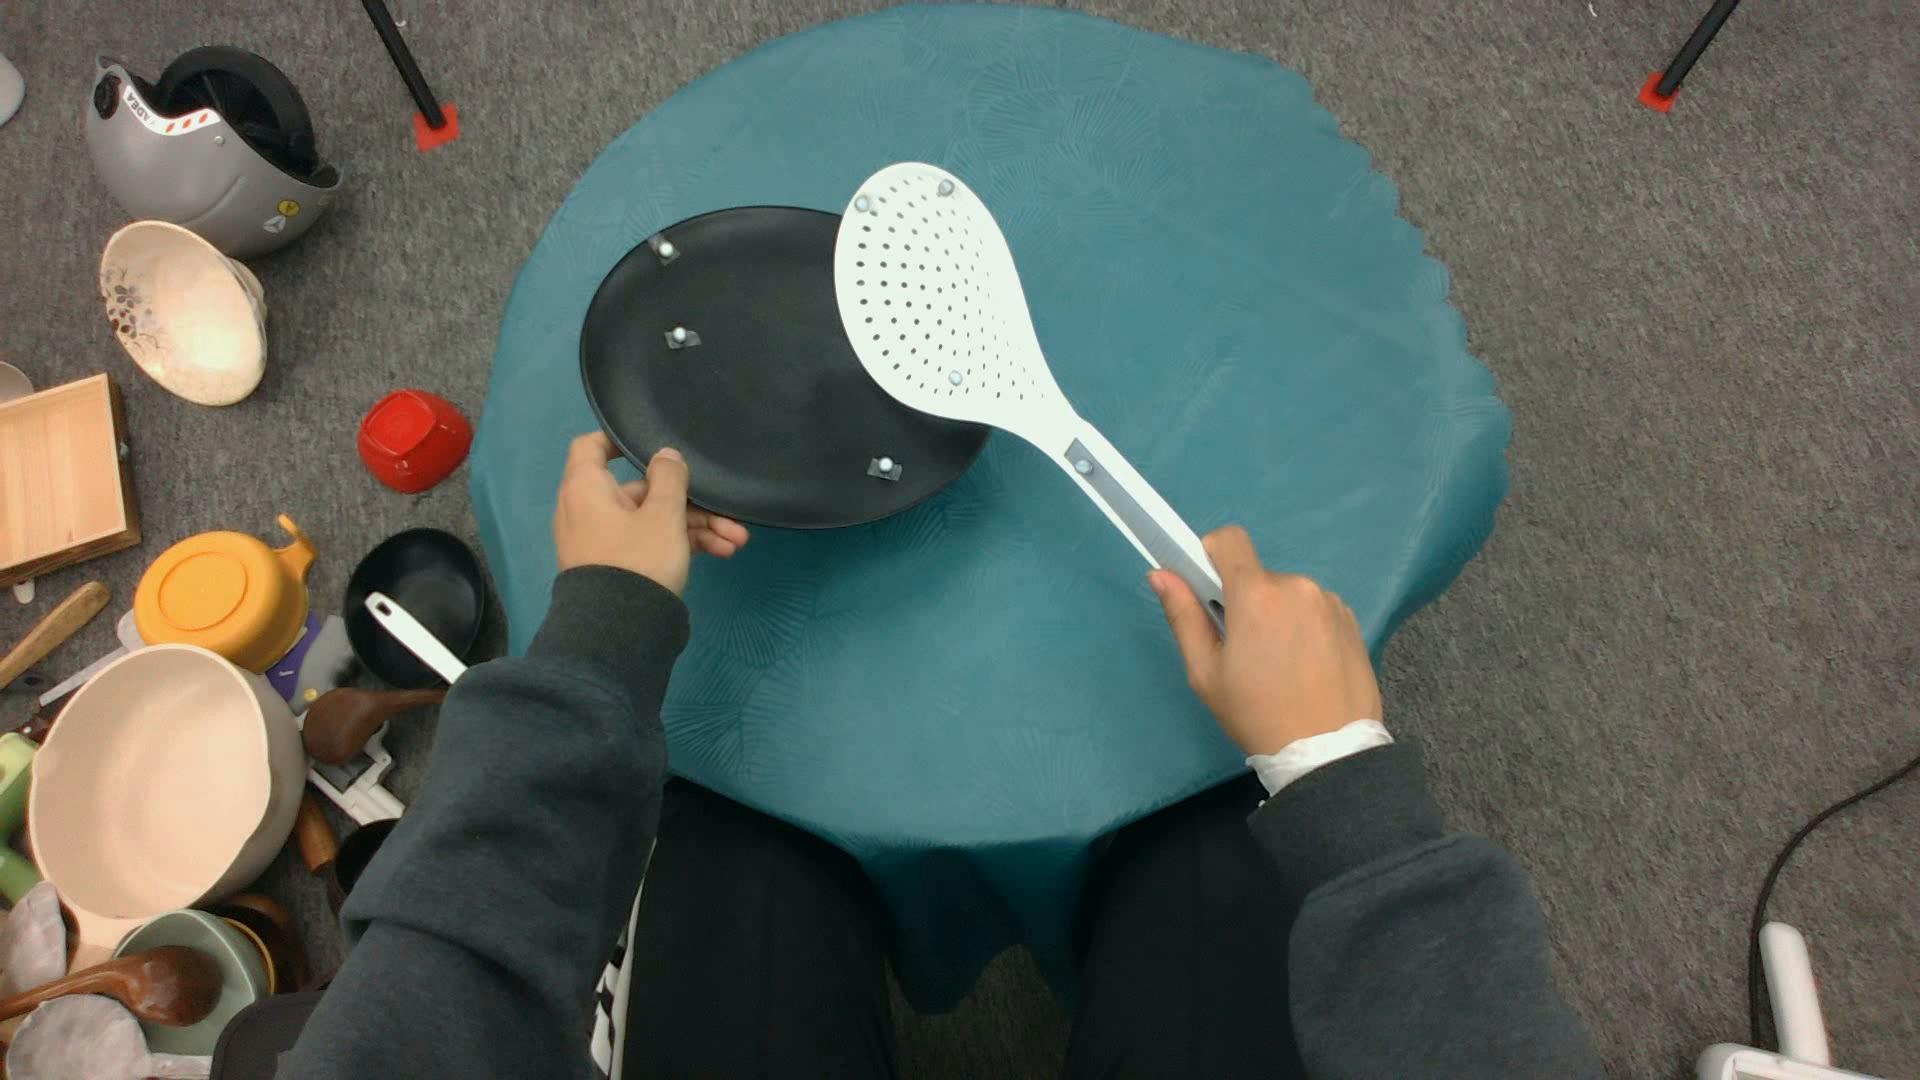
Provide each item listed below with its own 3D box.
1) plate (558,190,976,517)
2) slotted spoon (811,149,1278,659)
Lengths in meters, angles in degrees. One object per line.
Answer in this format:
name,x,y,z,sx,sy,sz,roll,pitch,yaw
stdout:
plate,-0.107,-0.111,0.801,0.244,0.023,0.245,7,56,-10
slotted spoon,0.038,-0.072,0.731,0.046,0.135,0.350,-21,63,-40
